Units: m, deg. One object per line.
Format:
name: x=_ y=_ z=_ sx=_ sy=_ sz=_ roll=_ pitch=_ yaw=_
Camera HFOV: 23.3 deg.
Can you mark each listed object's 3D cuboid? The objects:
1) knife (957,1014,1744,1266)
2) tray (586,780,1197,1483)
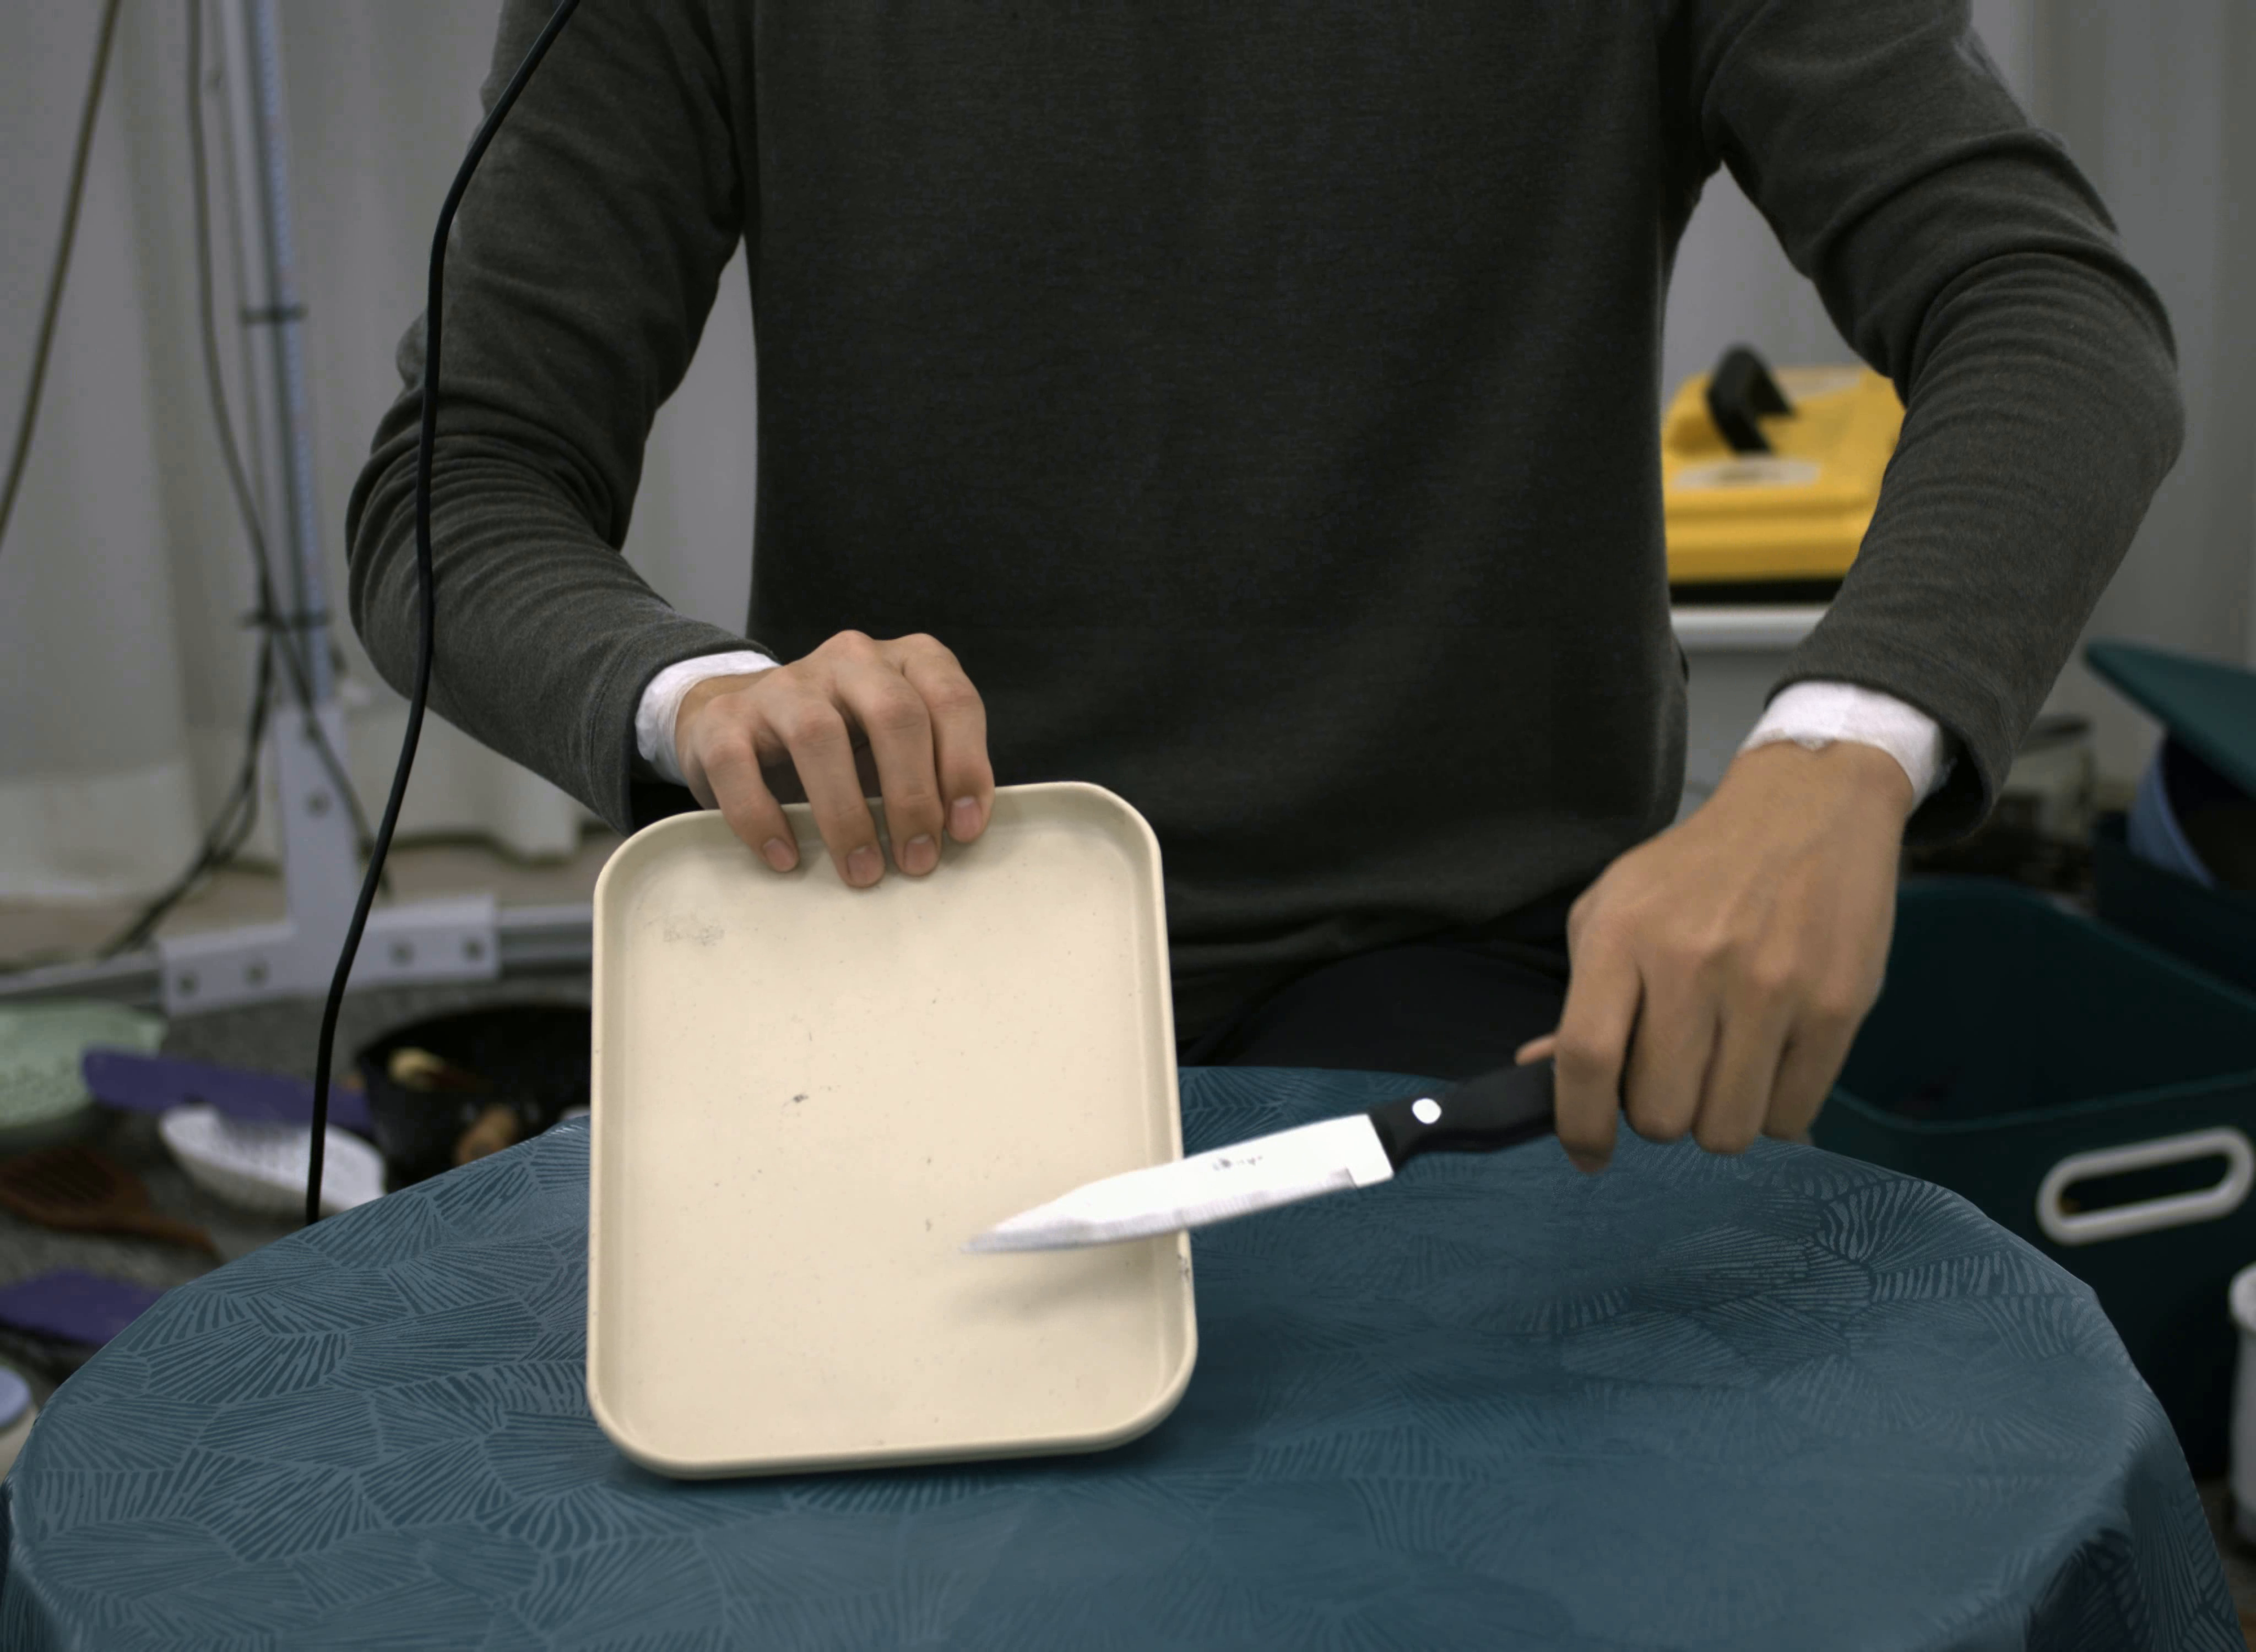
knife: x=0.063 y=0.090 z=1.548 sx=0.237 sy=0.016 sz=0.025 roll=-15 pitch=55 yaw=-13
tray: x=-0.070 y=0.086 z=1.570 sx=0.171 sy=0.017 sz=0.243 roll=-5 pitch=49 yaw=1
